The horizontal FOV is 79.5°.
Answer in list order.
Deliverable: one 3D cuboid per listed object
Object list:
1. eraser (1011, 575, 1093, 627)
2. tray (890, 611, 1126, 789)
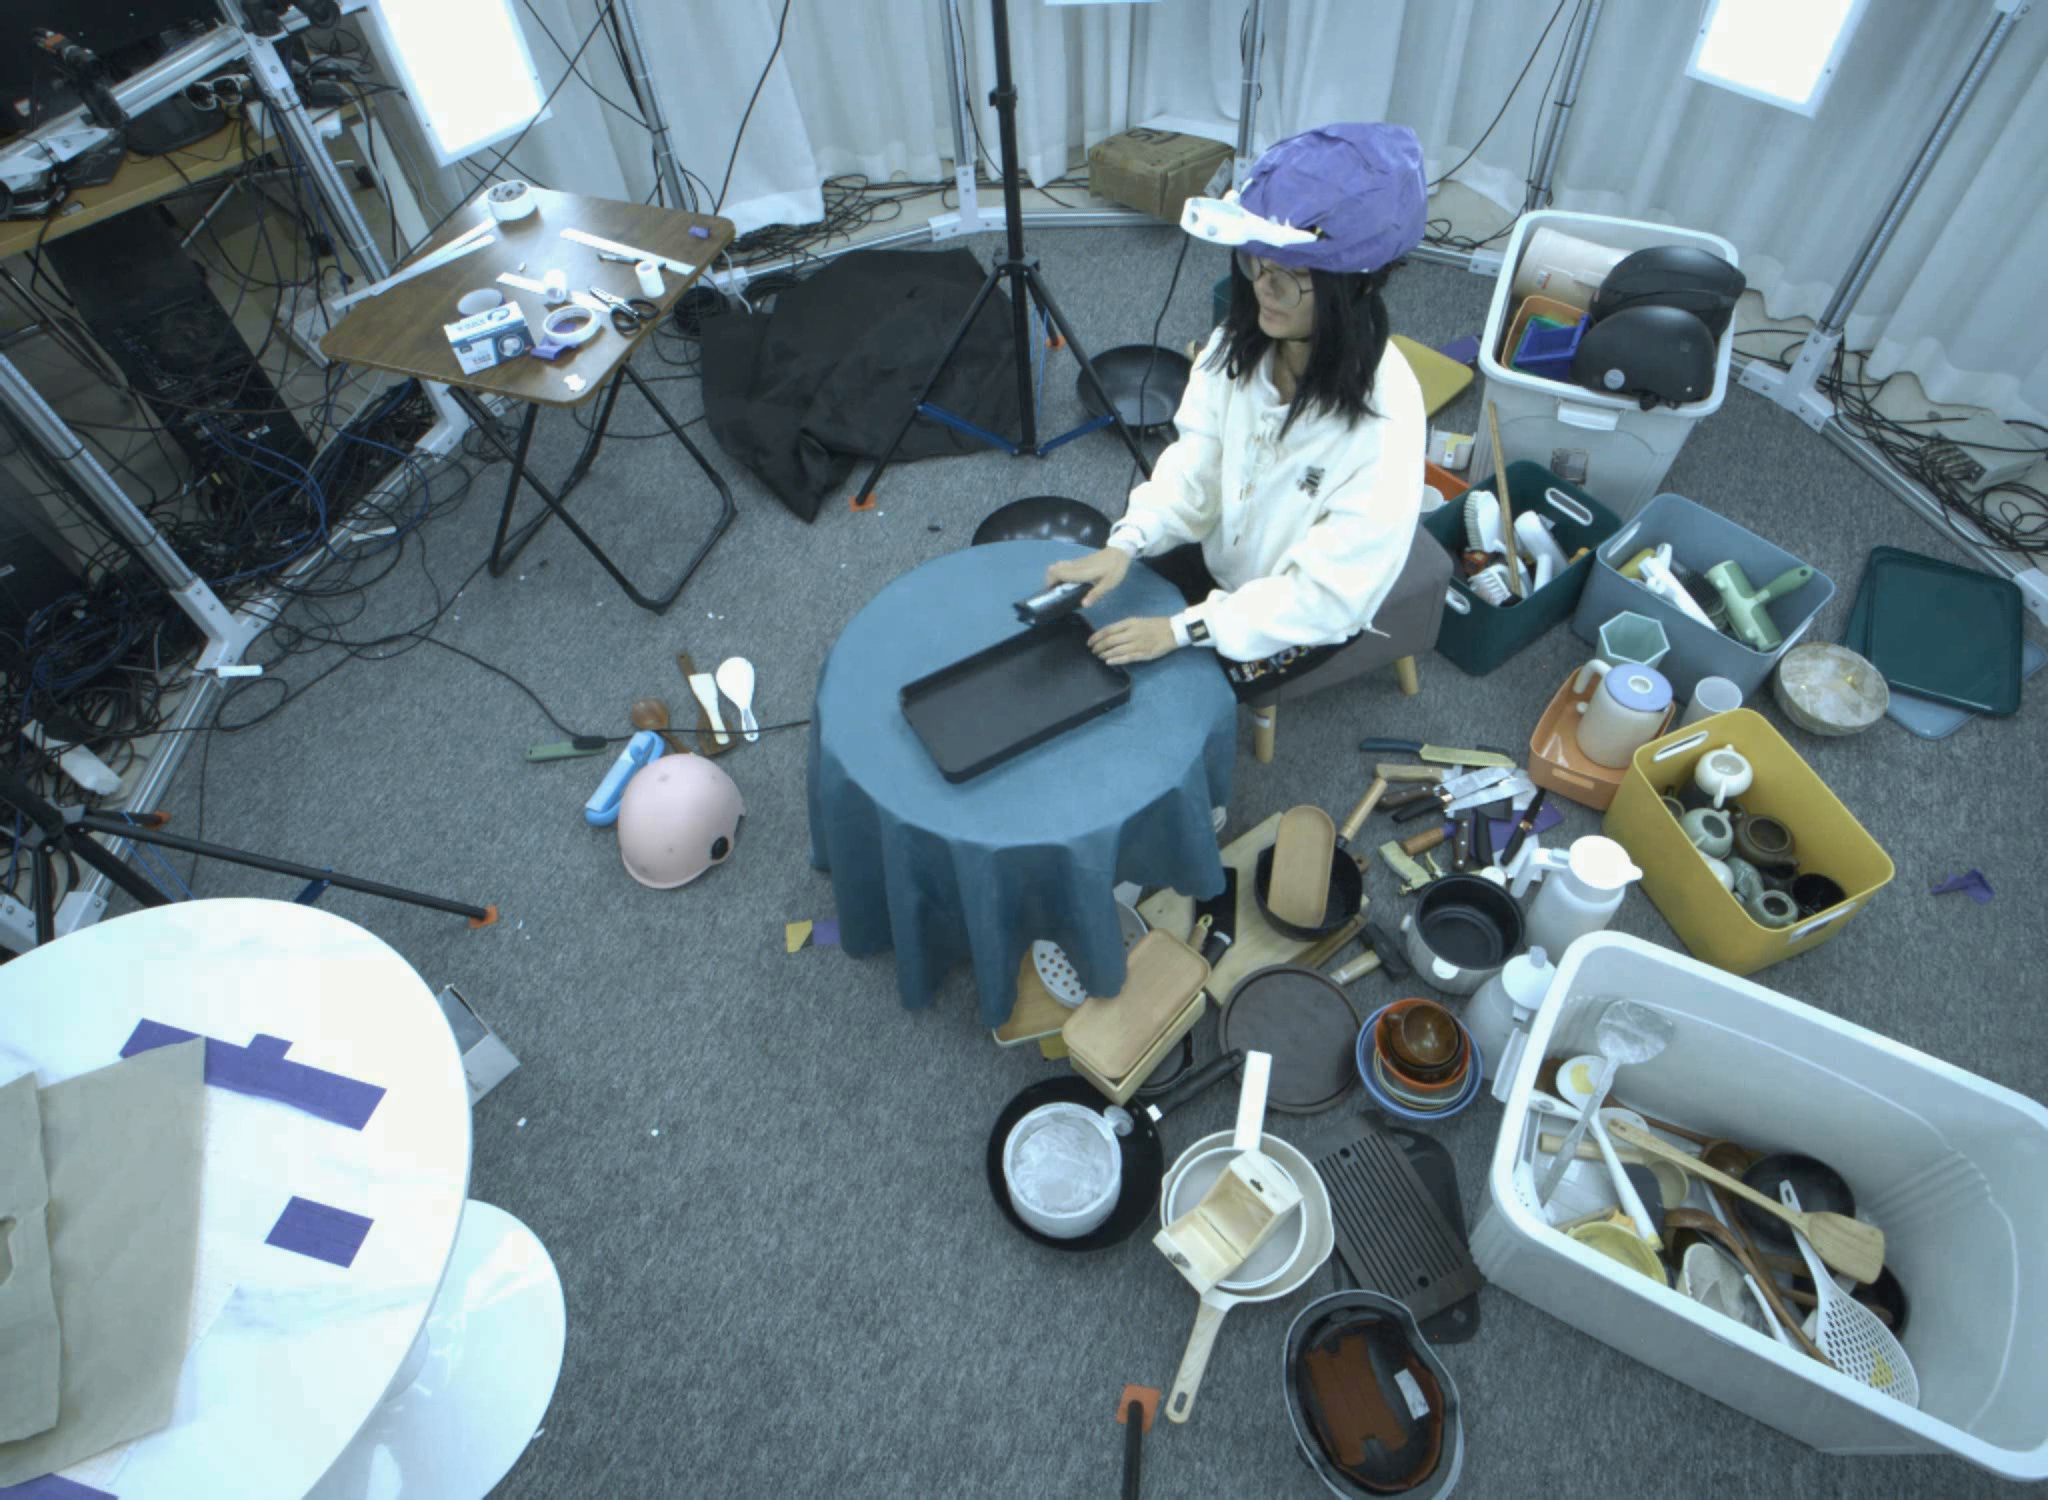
[{"bbox_3d":[0.042,-0.224,1.838,0.127,0.031,0.052,-29,46,-35],"label":"eraser"},{"bbox_3d":[-0.023,-0.079,1.822,0.320,0.037,0.181,-29,59,-17],"label":"tray"}]
